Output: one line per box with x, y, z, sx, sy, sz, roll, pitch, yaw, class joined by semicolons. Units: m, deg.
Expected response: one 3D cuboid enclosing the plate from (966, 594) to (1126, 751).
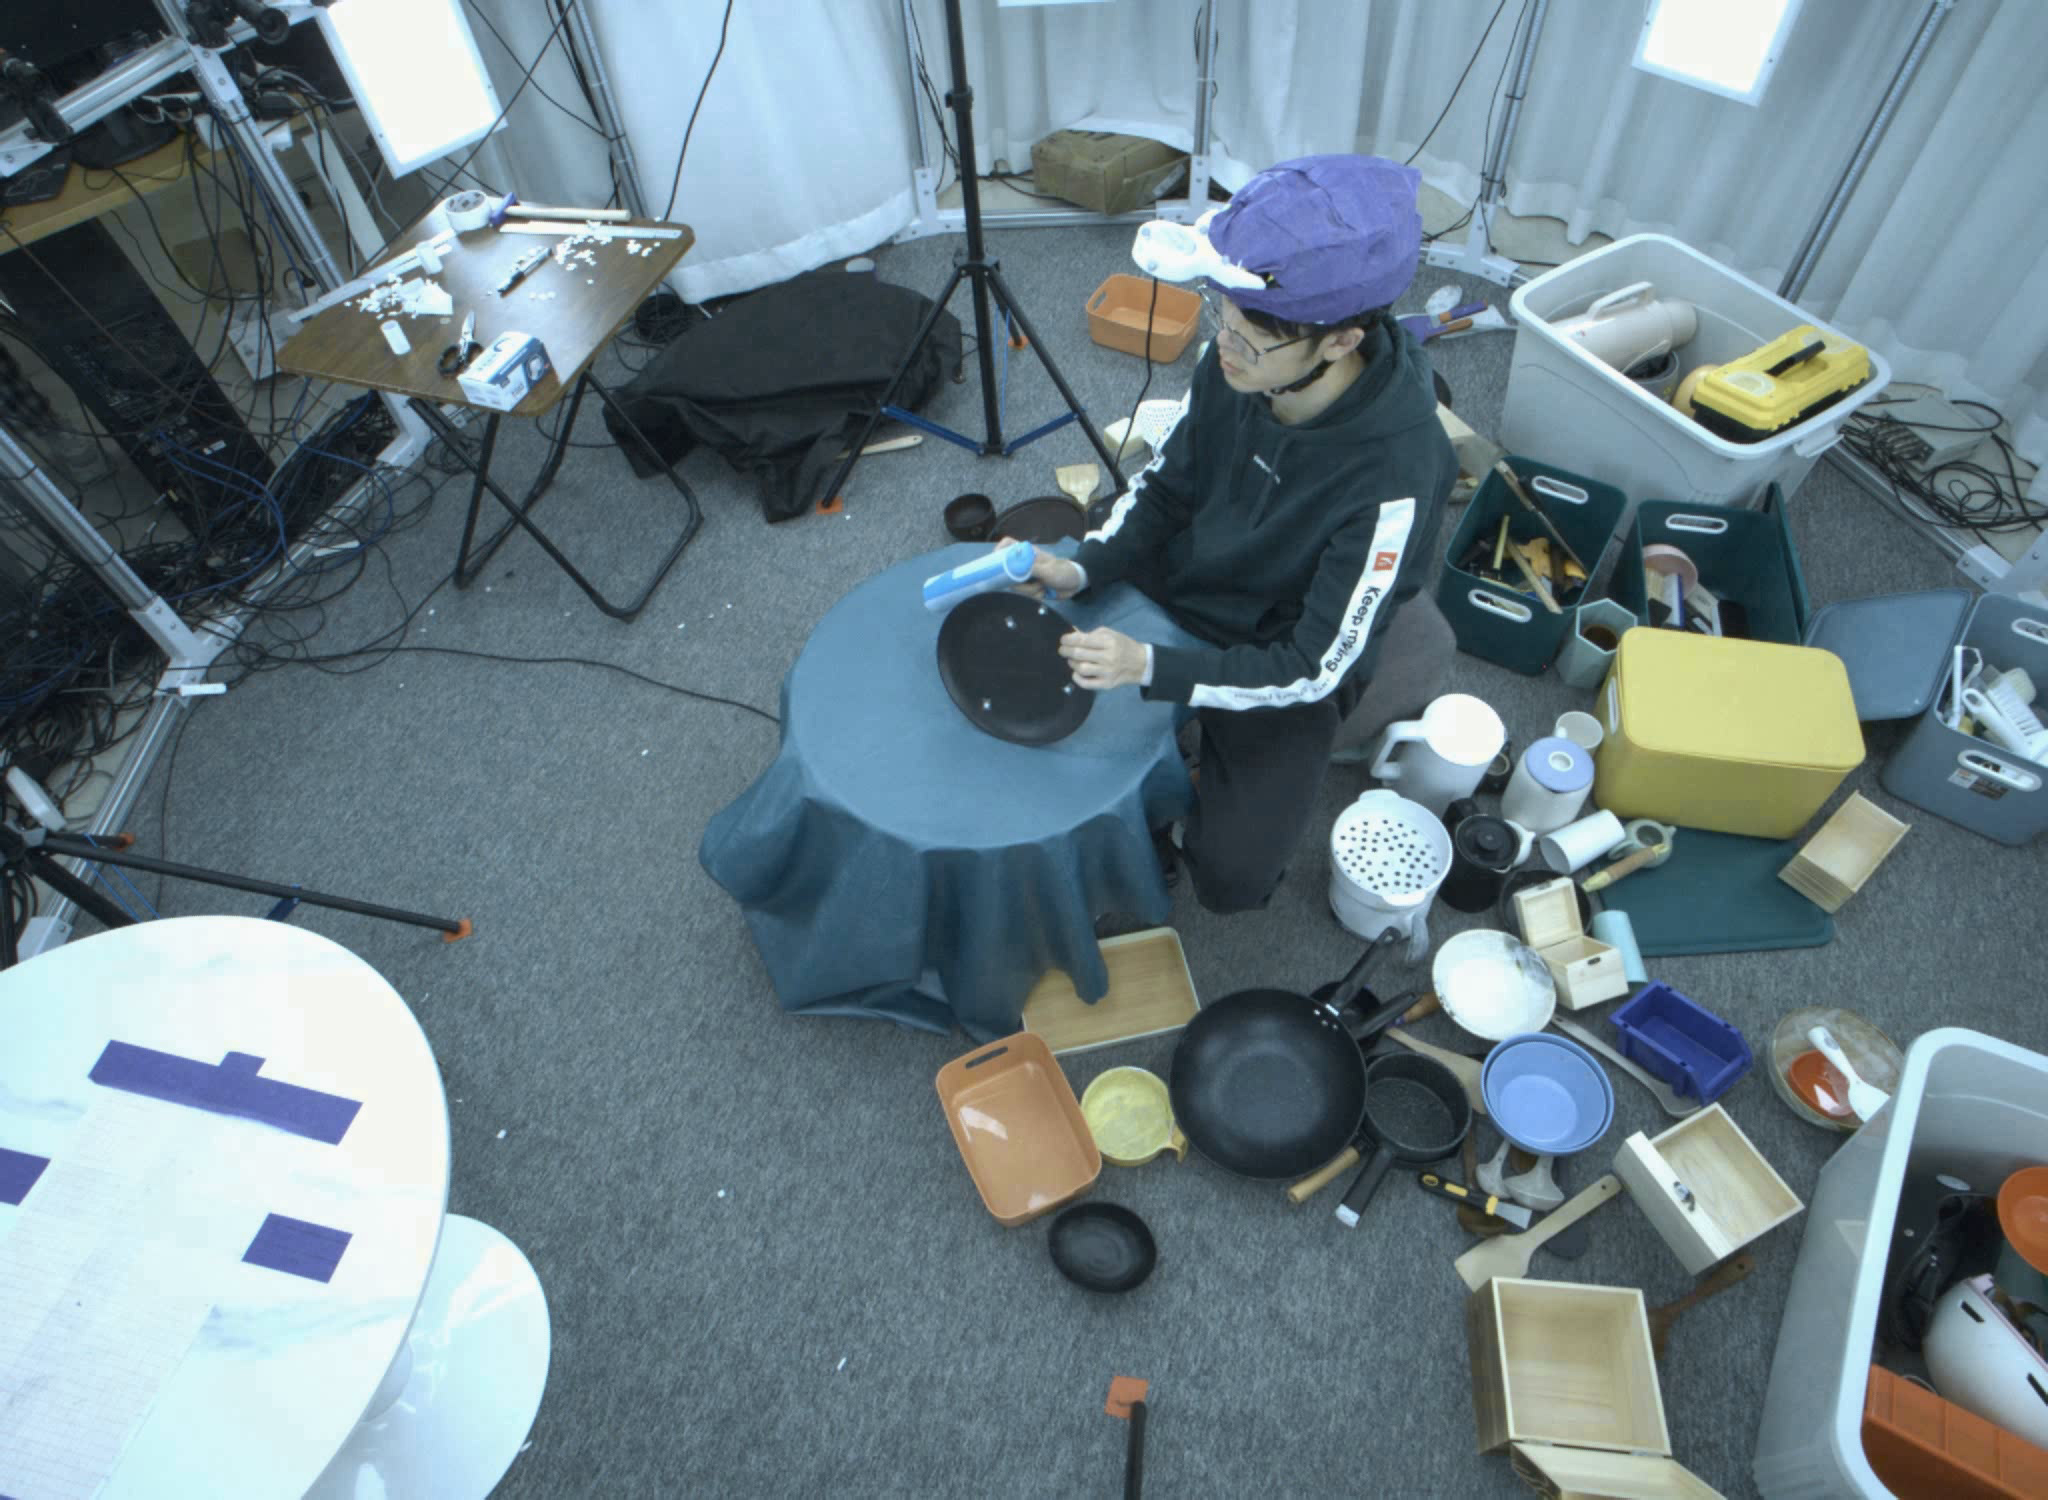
0.032;-0.110;1.725;0.241;0.246;0.023;18;36;15;plate

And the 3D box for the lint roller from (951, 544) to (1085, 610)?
0.016;-0.248;1.811;0.184;0.224;0.068;-1;83;-44;lint roller
